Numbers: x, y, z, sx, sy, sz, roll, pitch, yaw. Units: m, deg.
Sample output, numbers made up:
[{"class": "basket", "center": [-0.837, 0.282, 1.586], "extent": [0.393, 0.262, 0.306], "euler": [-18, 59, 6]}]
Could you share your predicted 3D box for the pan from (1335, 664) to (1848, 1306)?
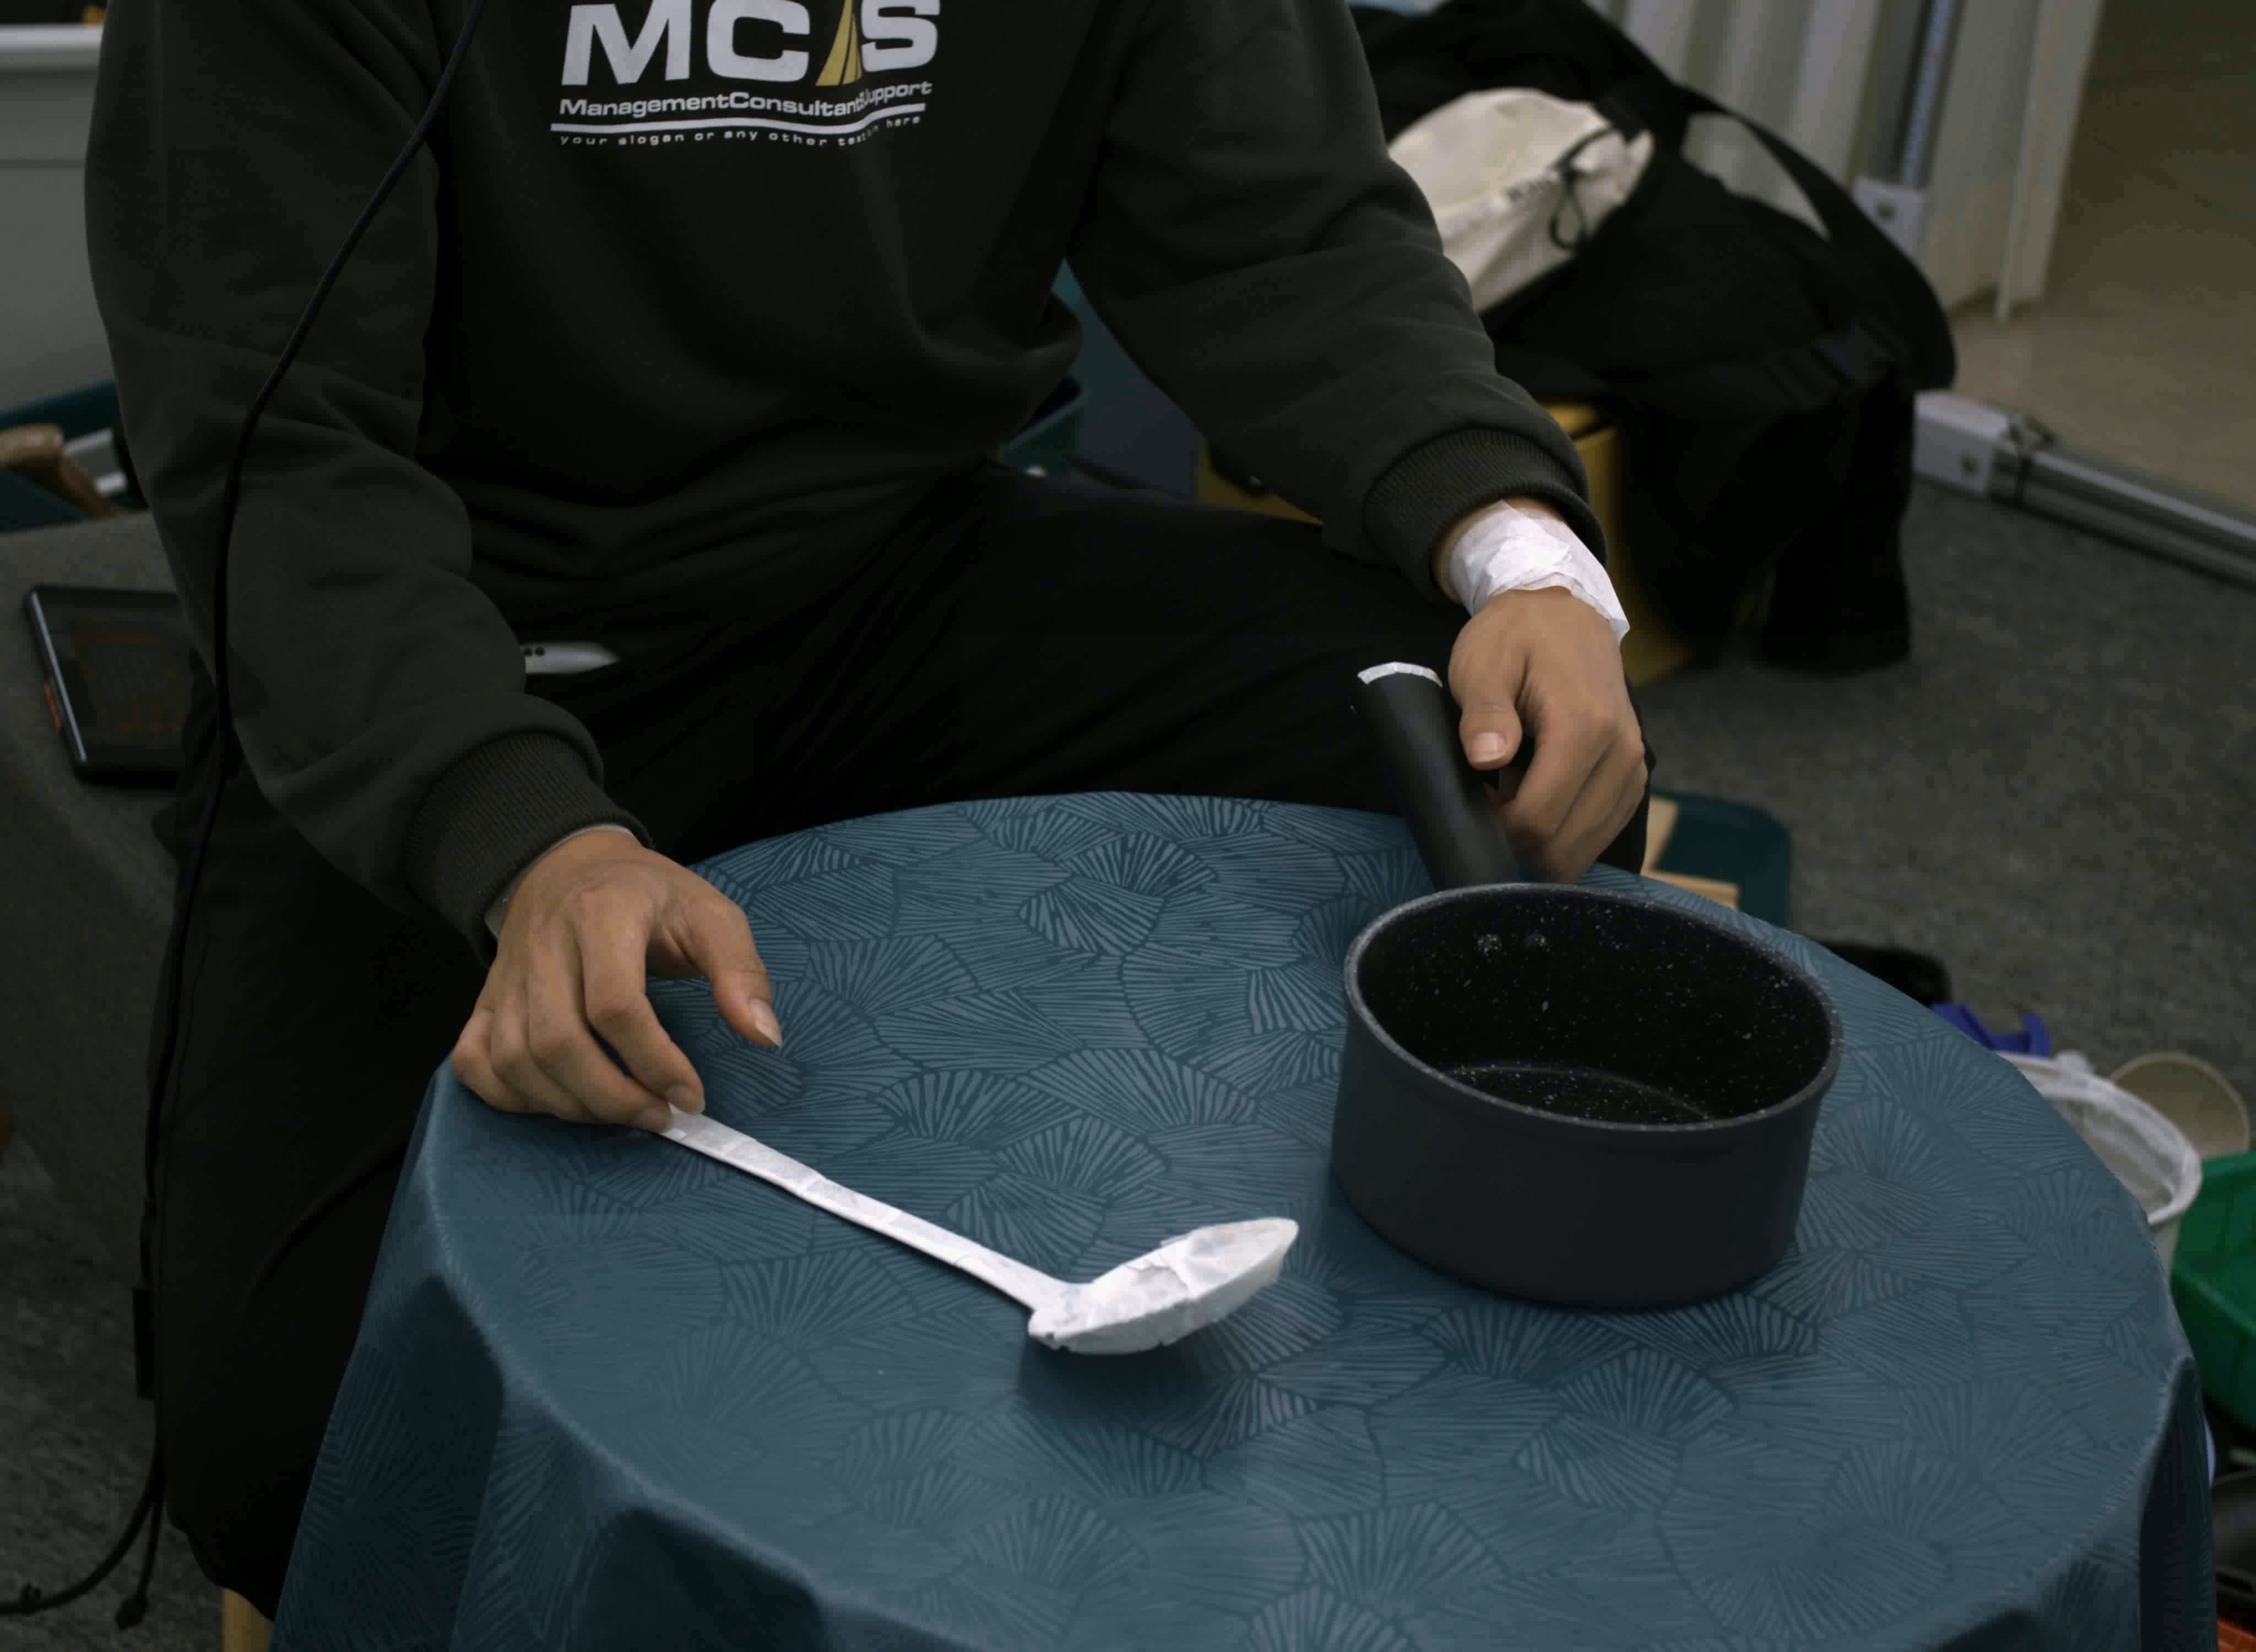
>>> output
[{"class": "pan", "center": [0.139, 0.053, 1.885], "extent": [0.171, 0.086, 0.331], "euler": [1, 28, -13]}]

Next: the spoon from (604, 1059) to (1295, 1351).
[{"class": "spoon", "center": [-0.066, 0.108, 1.757], "extent": [0.279, 0.059, 0.100], "euler": [25, 30, 32]}]
